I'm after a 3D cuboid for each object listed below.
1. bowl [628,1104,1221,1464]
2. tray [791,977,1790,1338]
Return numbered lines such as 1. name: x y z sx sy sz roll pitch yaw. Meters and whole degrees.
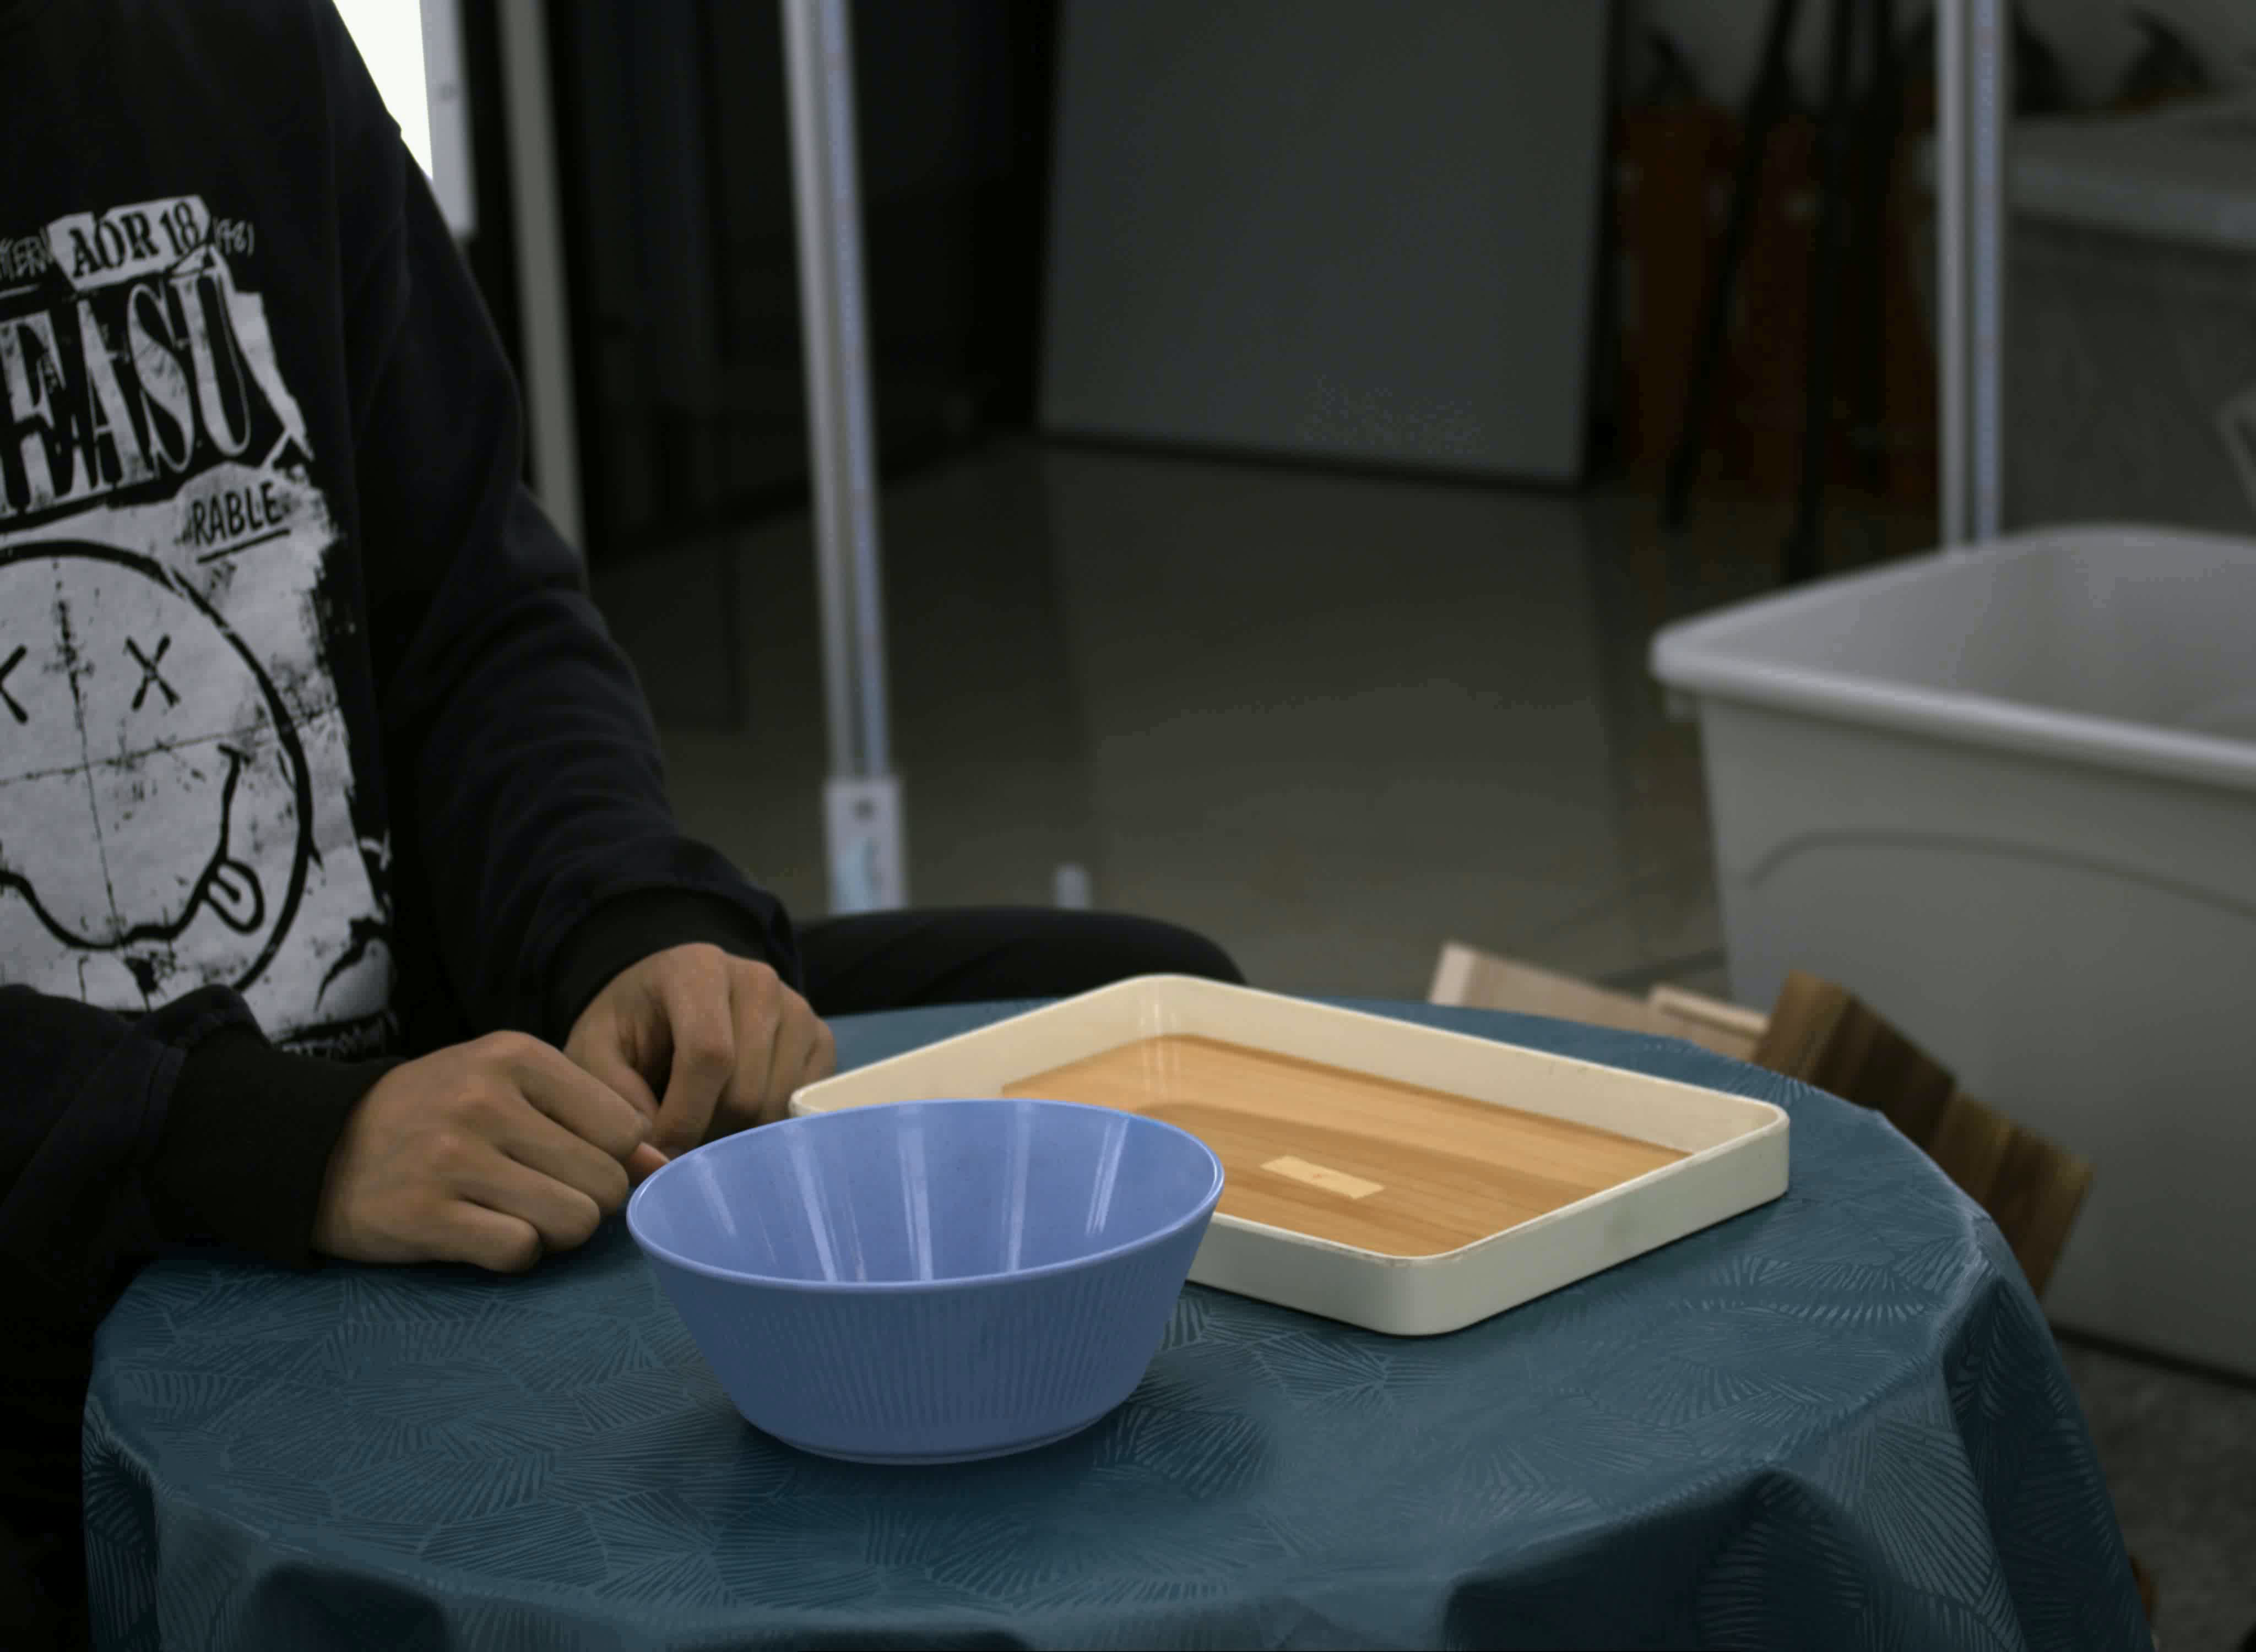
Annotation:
1. bowl: -0.058 0.136 1.578 0.174 0.071 0.176 -3 13 0
2. tray: 0.050 0.105 1.768 0.187 0.028 0.303 -17 19 -41
